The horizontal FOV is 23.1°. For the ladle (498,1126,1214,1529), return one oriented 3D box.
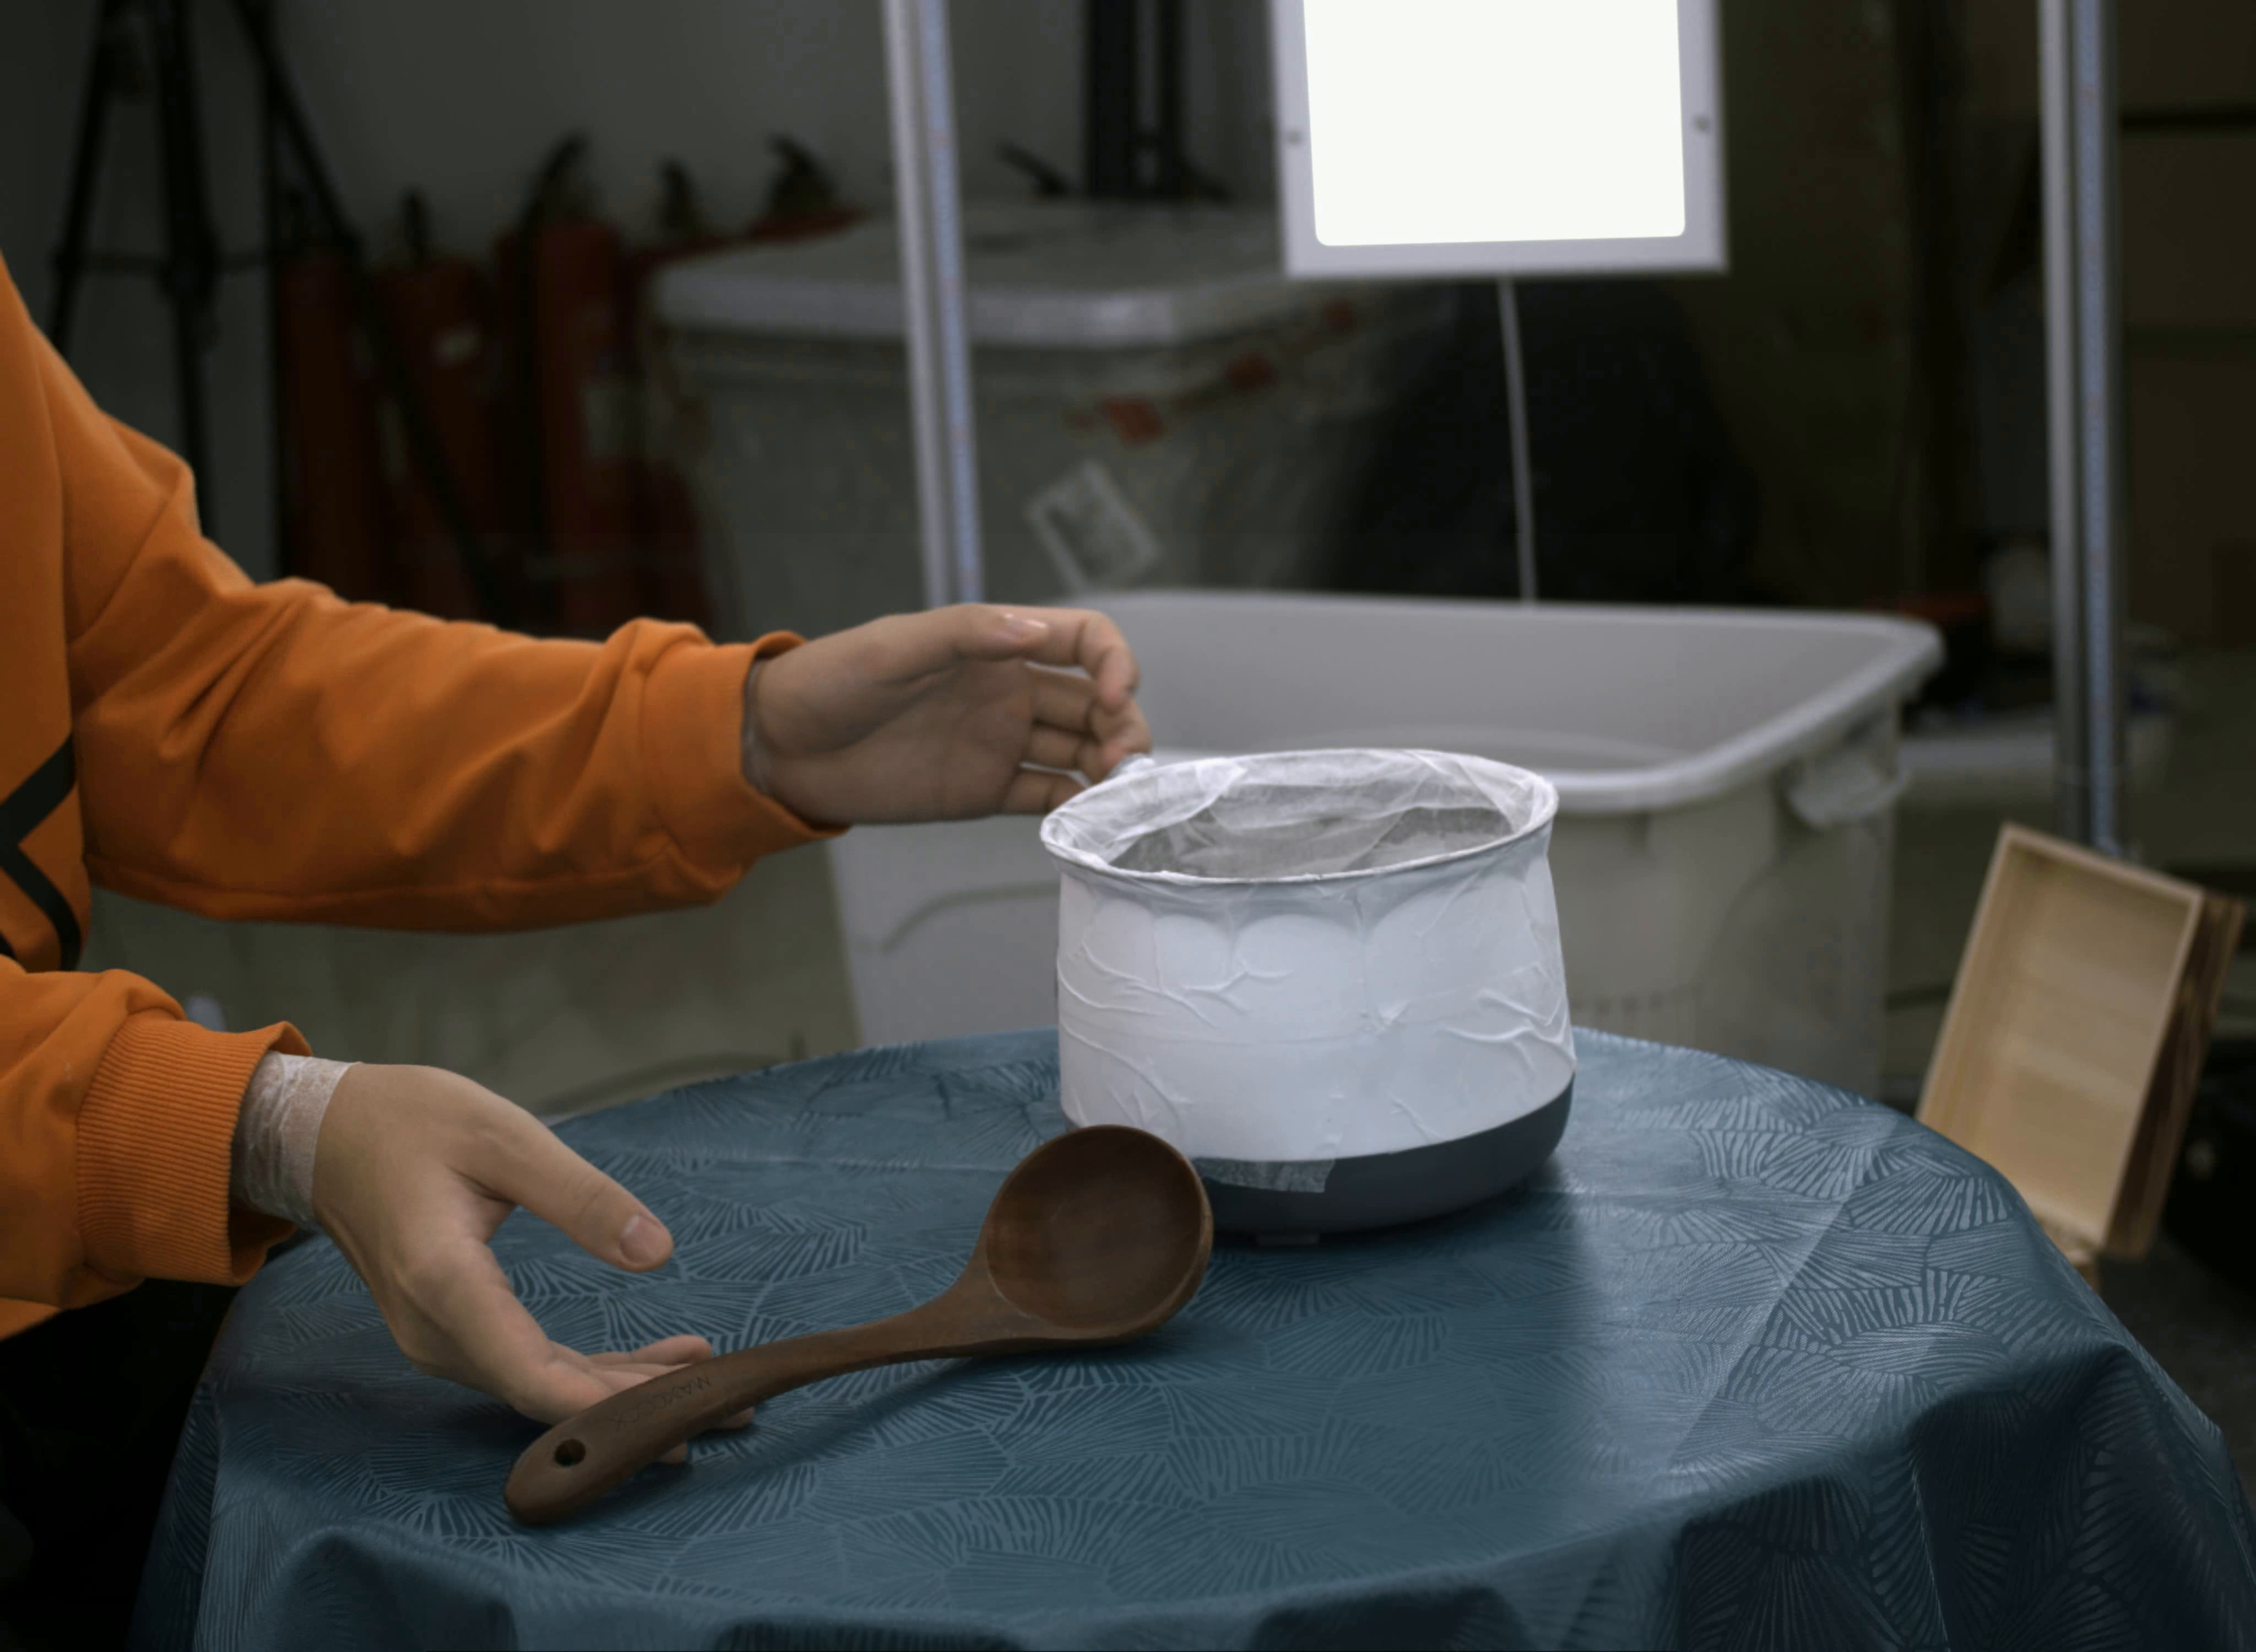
[{"bbox_3d":[-0.081,0.153,1.693,0.254,0.066,0.077,-15,42,-37],"label":"ladle"}]

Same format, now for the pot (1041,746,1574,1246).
[{"bbox_3d":[0.047,0.052,1.896,0.174,0.137,0.238,-13,16,-32],"label":"pot"}]
